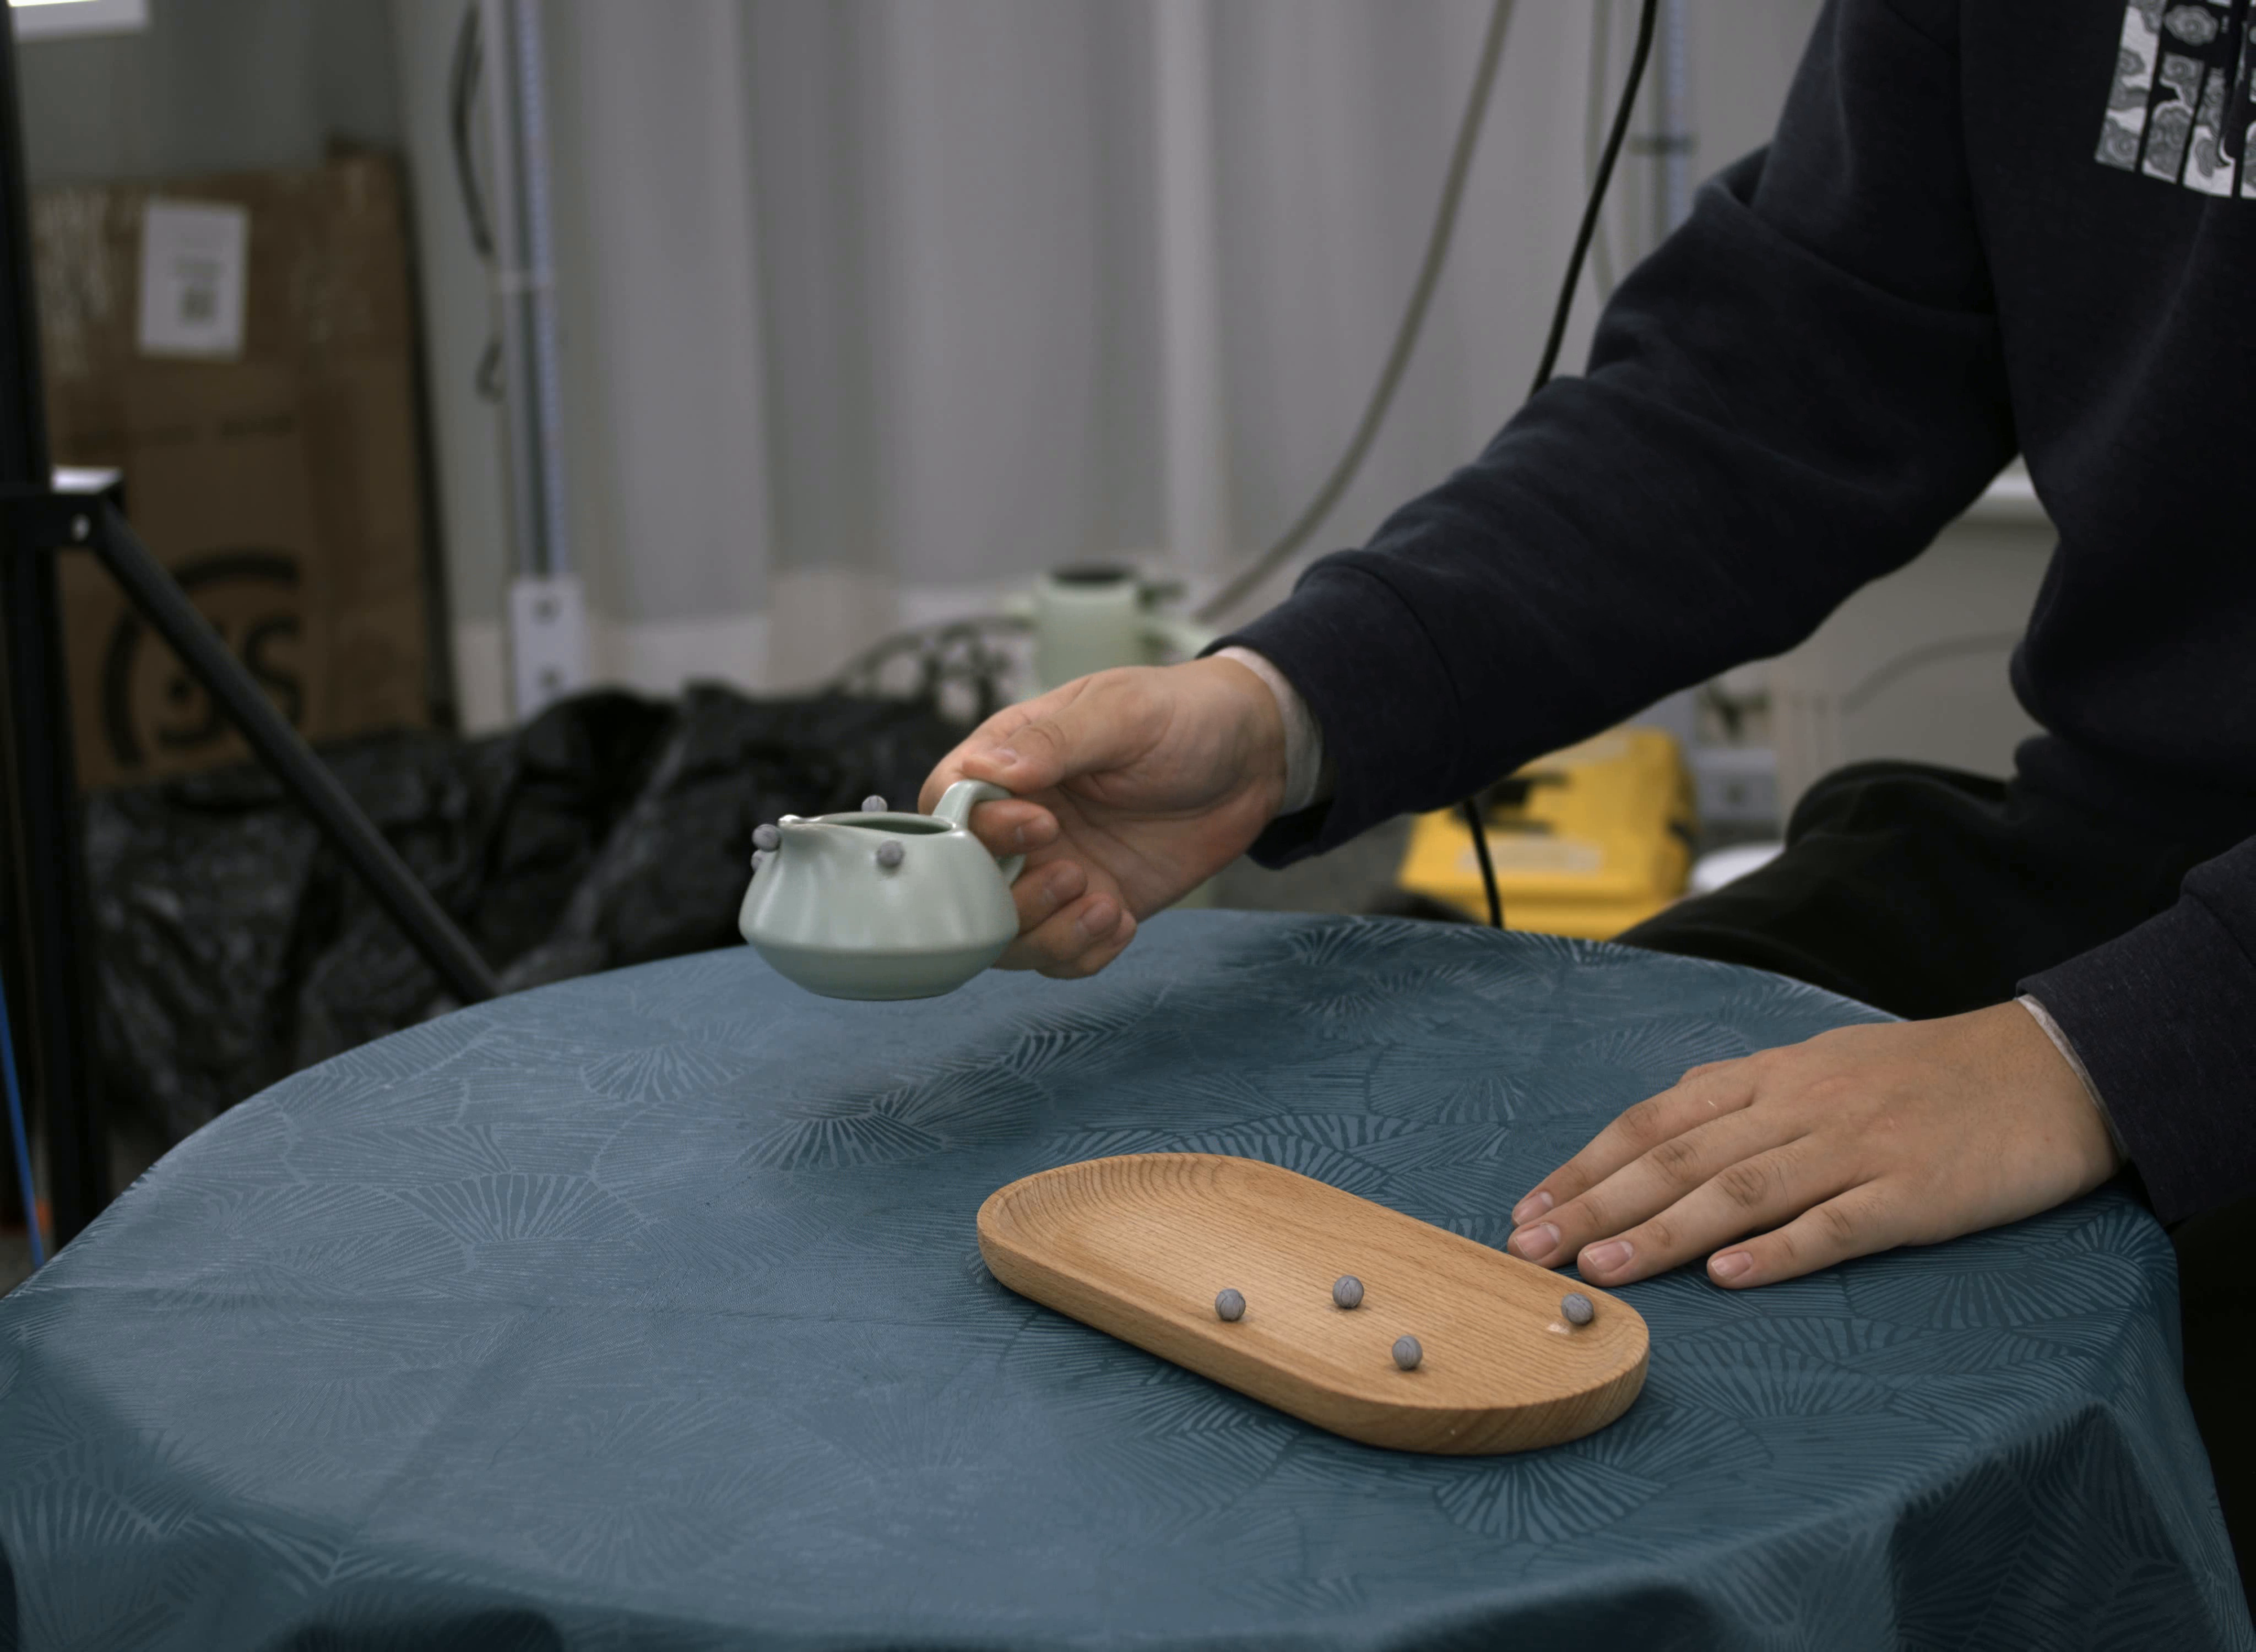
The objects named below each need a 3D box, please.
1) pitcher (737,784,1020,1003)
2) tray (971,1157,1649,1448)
[{"bbox_3d":[-0.069,0.020,1.635,0.088,0.060,0.105,9,10,35],"label":"pitcher"},{"bbox_3d":[0.047,0.129,1.449,0.099,0.020,0.236,-12,16,-35],"label":"tray"}]
